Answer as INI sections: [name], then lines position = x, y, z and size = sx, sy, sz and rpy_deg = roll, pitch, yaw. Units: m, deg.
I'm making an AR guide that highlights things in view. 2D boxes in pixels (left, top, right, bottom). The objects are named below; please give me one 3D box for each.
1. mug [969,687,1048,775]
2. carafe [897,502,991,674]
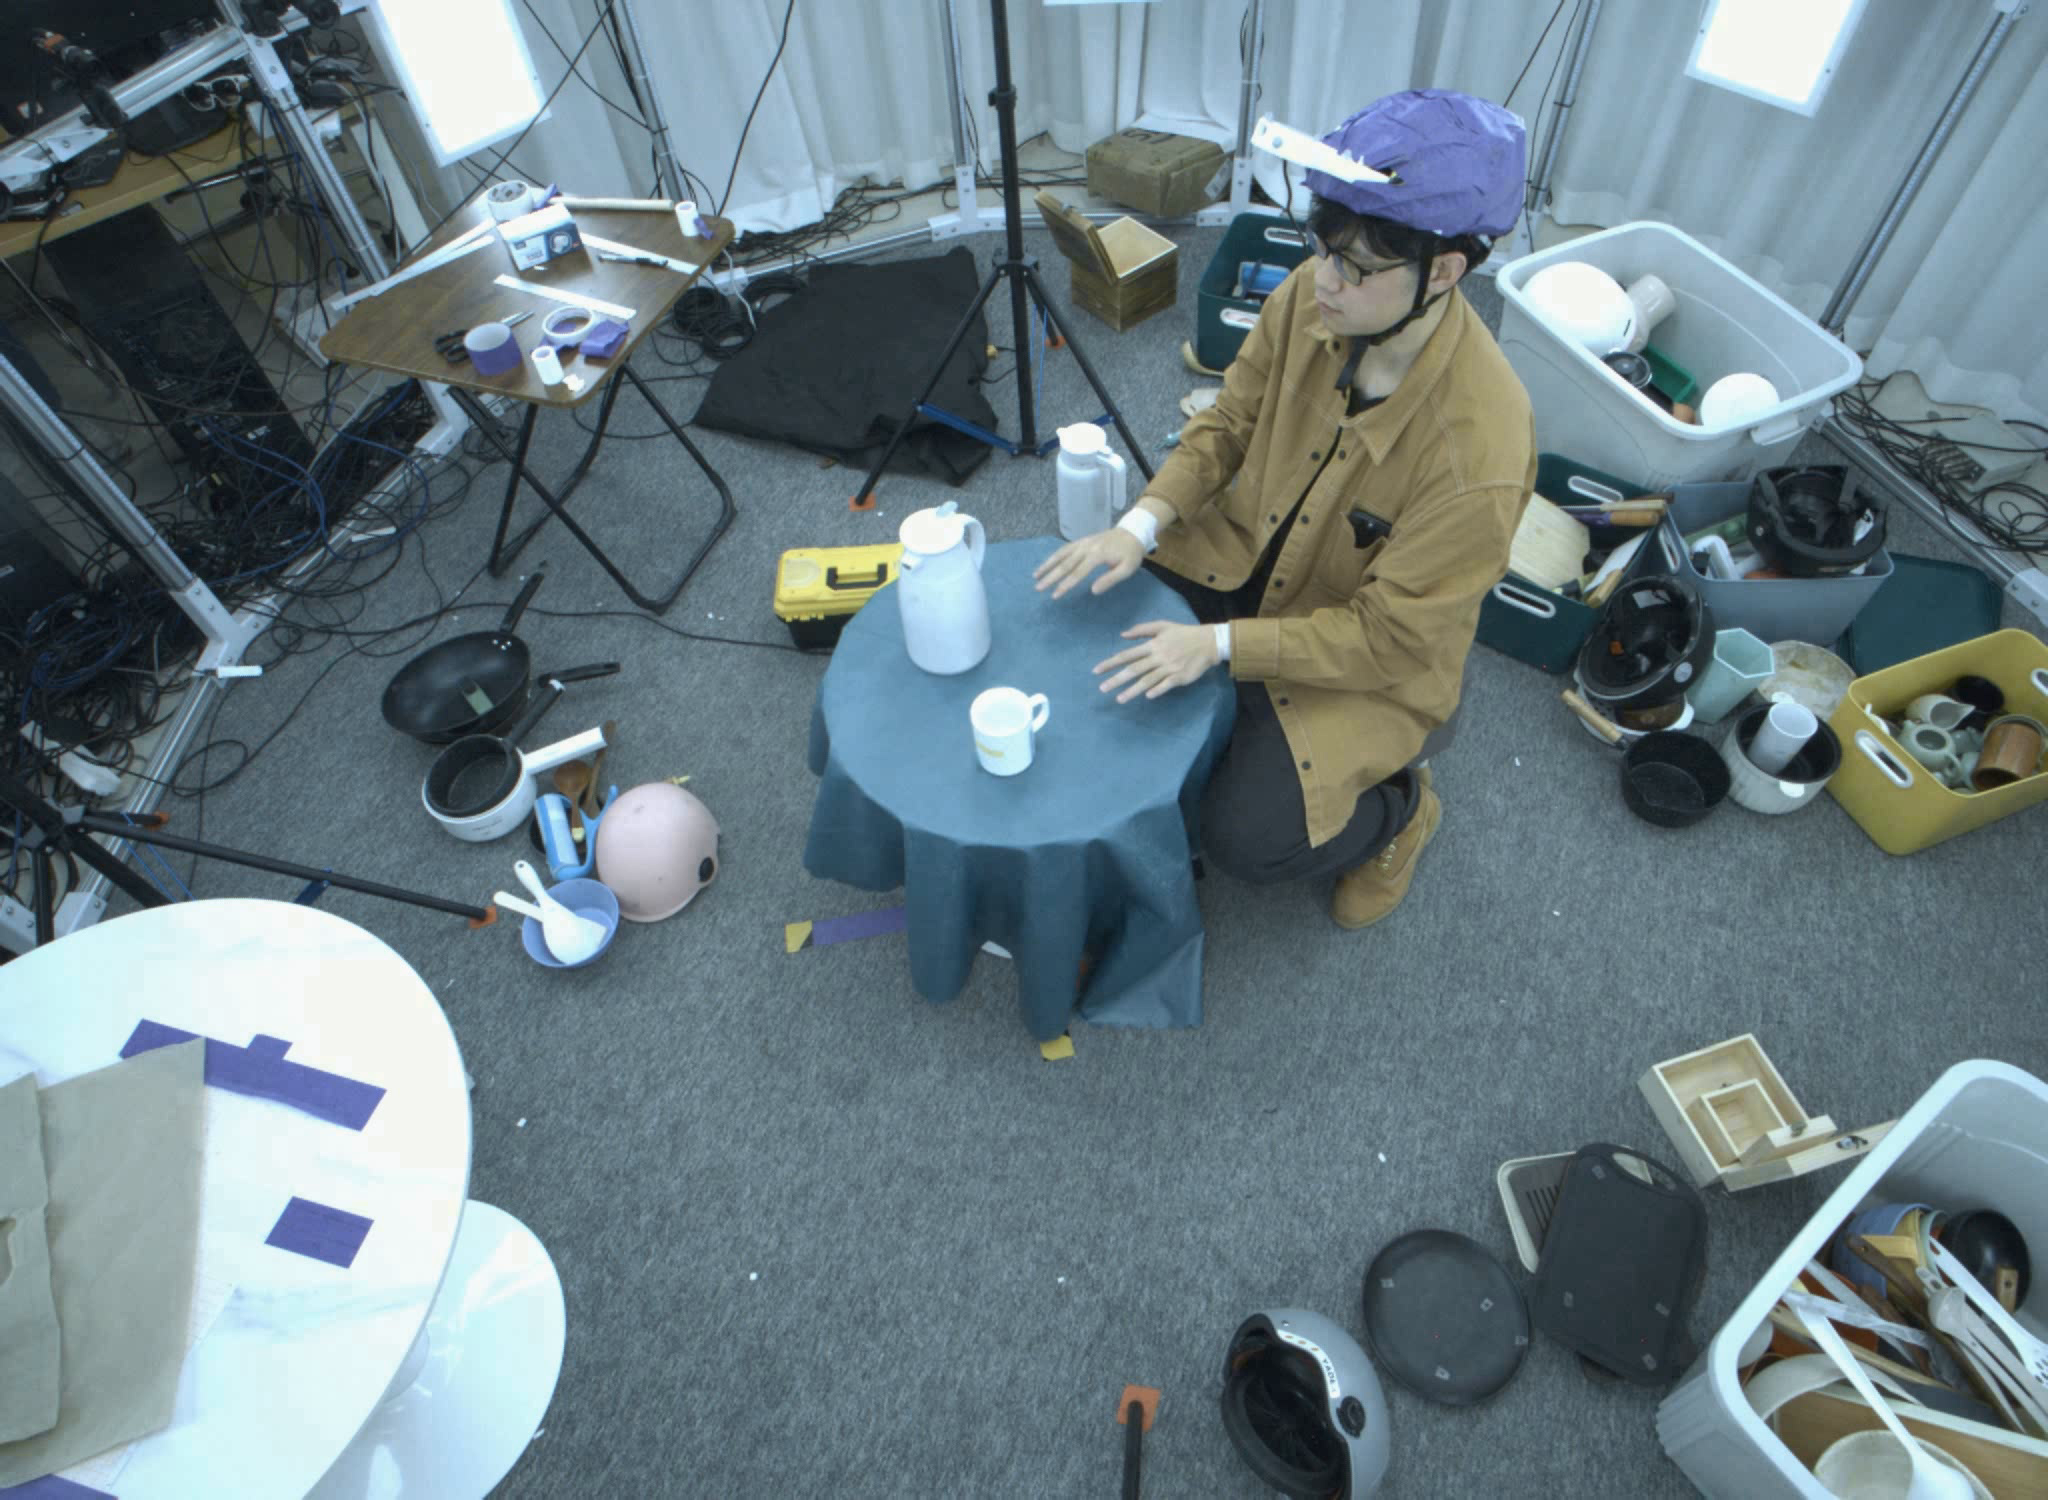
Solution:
[mug]
position = -0.017, -0.033, 1.742
size = 0.119, 0.103, 0.083
rpy_deg = -33, 59, -18
[carafe]
position = -0.116, -0.254, 1.815
size = 0.130, 0.251, 0.168
rpy_deg = 25, 59, 21
